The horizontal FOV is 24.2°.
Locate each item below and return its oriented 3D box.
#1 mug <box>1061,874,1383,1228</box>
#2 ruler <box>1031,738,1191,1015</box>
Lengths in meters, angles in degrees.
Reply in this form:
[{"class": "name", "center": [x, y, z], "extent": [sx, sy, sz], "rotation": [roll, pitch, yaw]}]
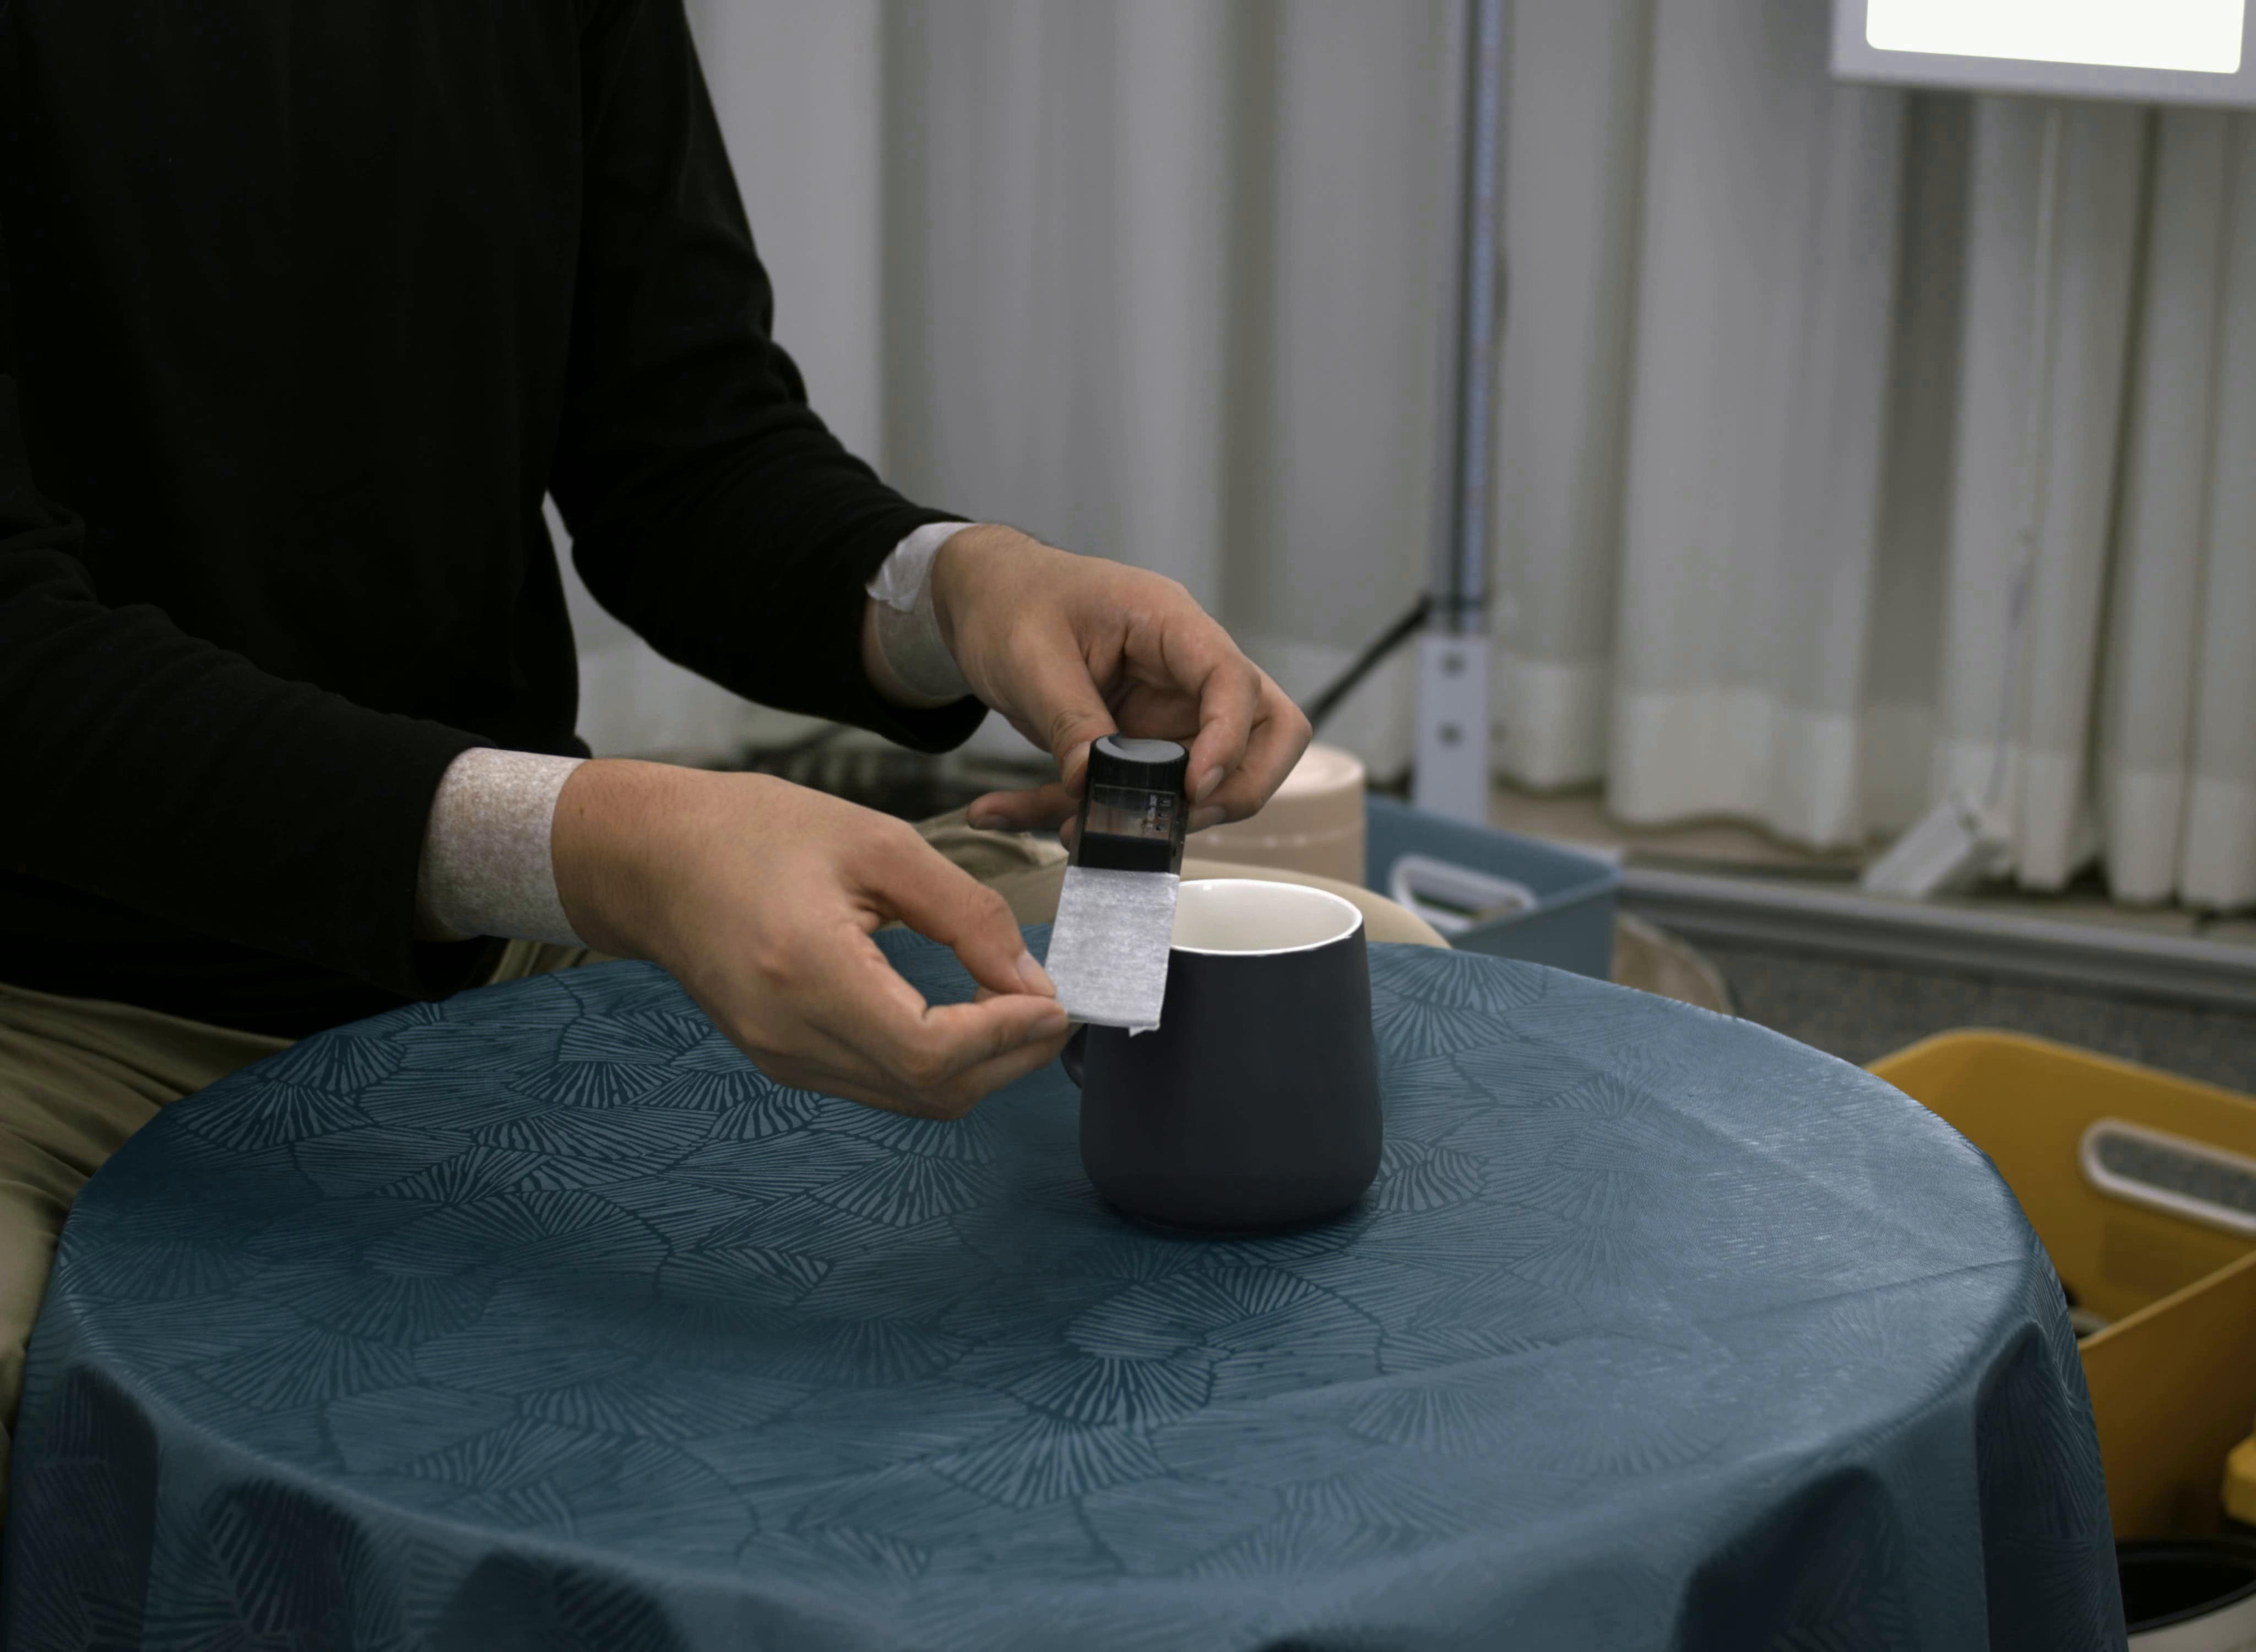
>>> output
[{"class": "mug", "center": [0.023, 0.065, 1.616], "extent": [0.094, 0.090, 0.121], "rotation": [-12, 21, -39]}, {"class": "ruler", "center": [-0.003, 0.013, 1.587], "extent": [0.038, 0.024, 0.217], "rotation": [1, 16, 3]}]
